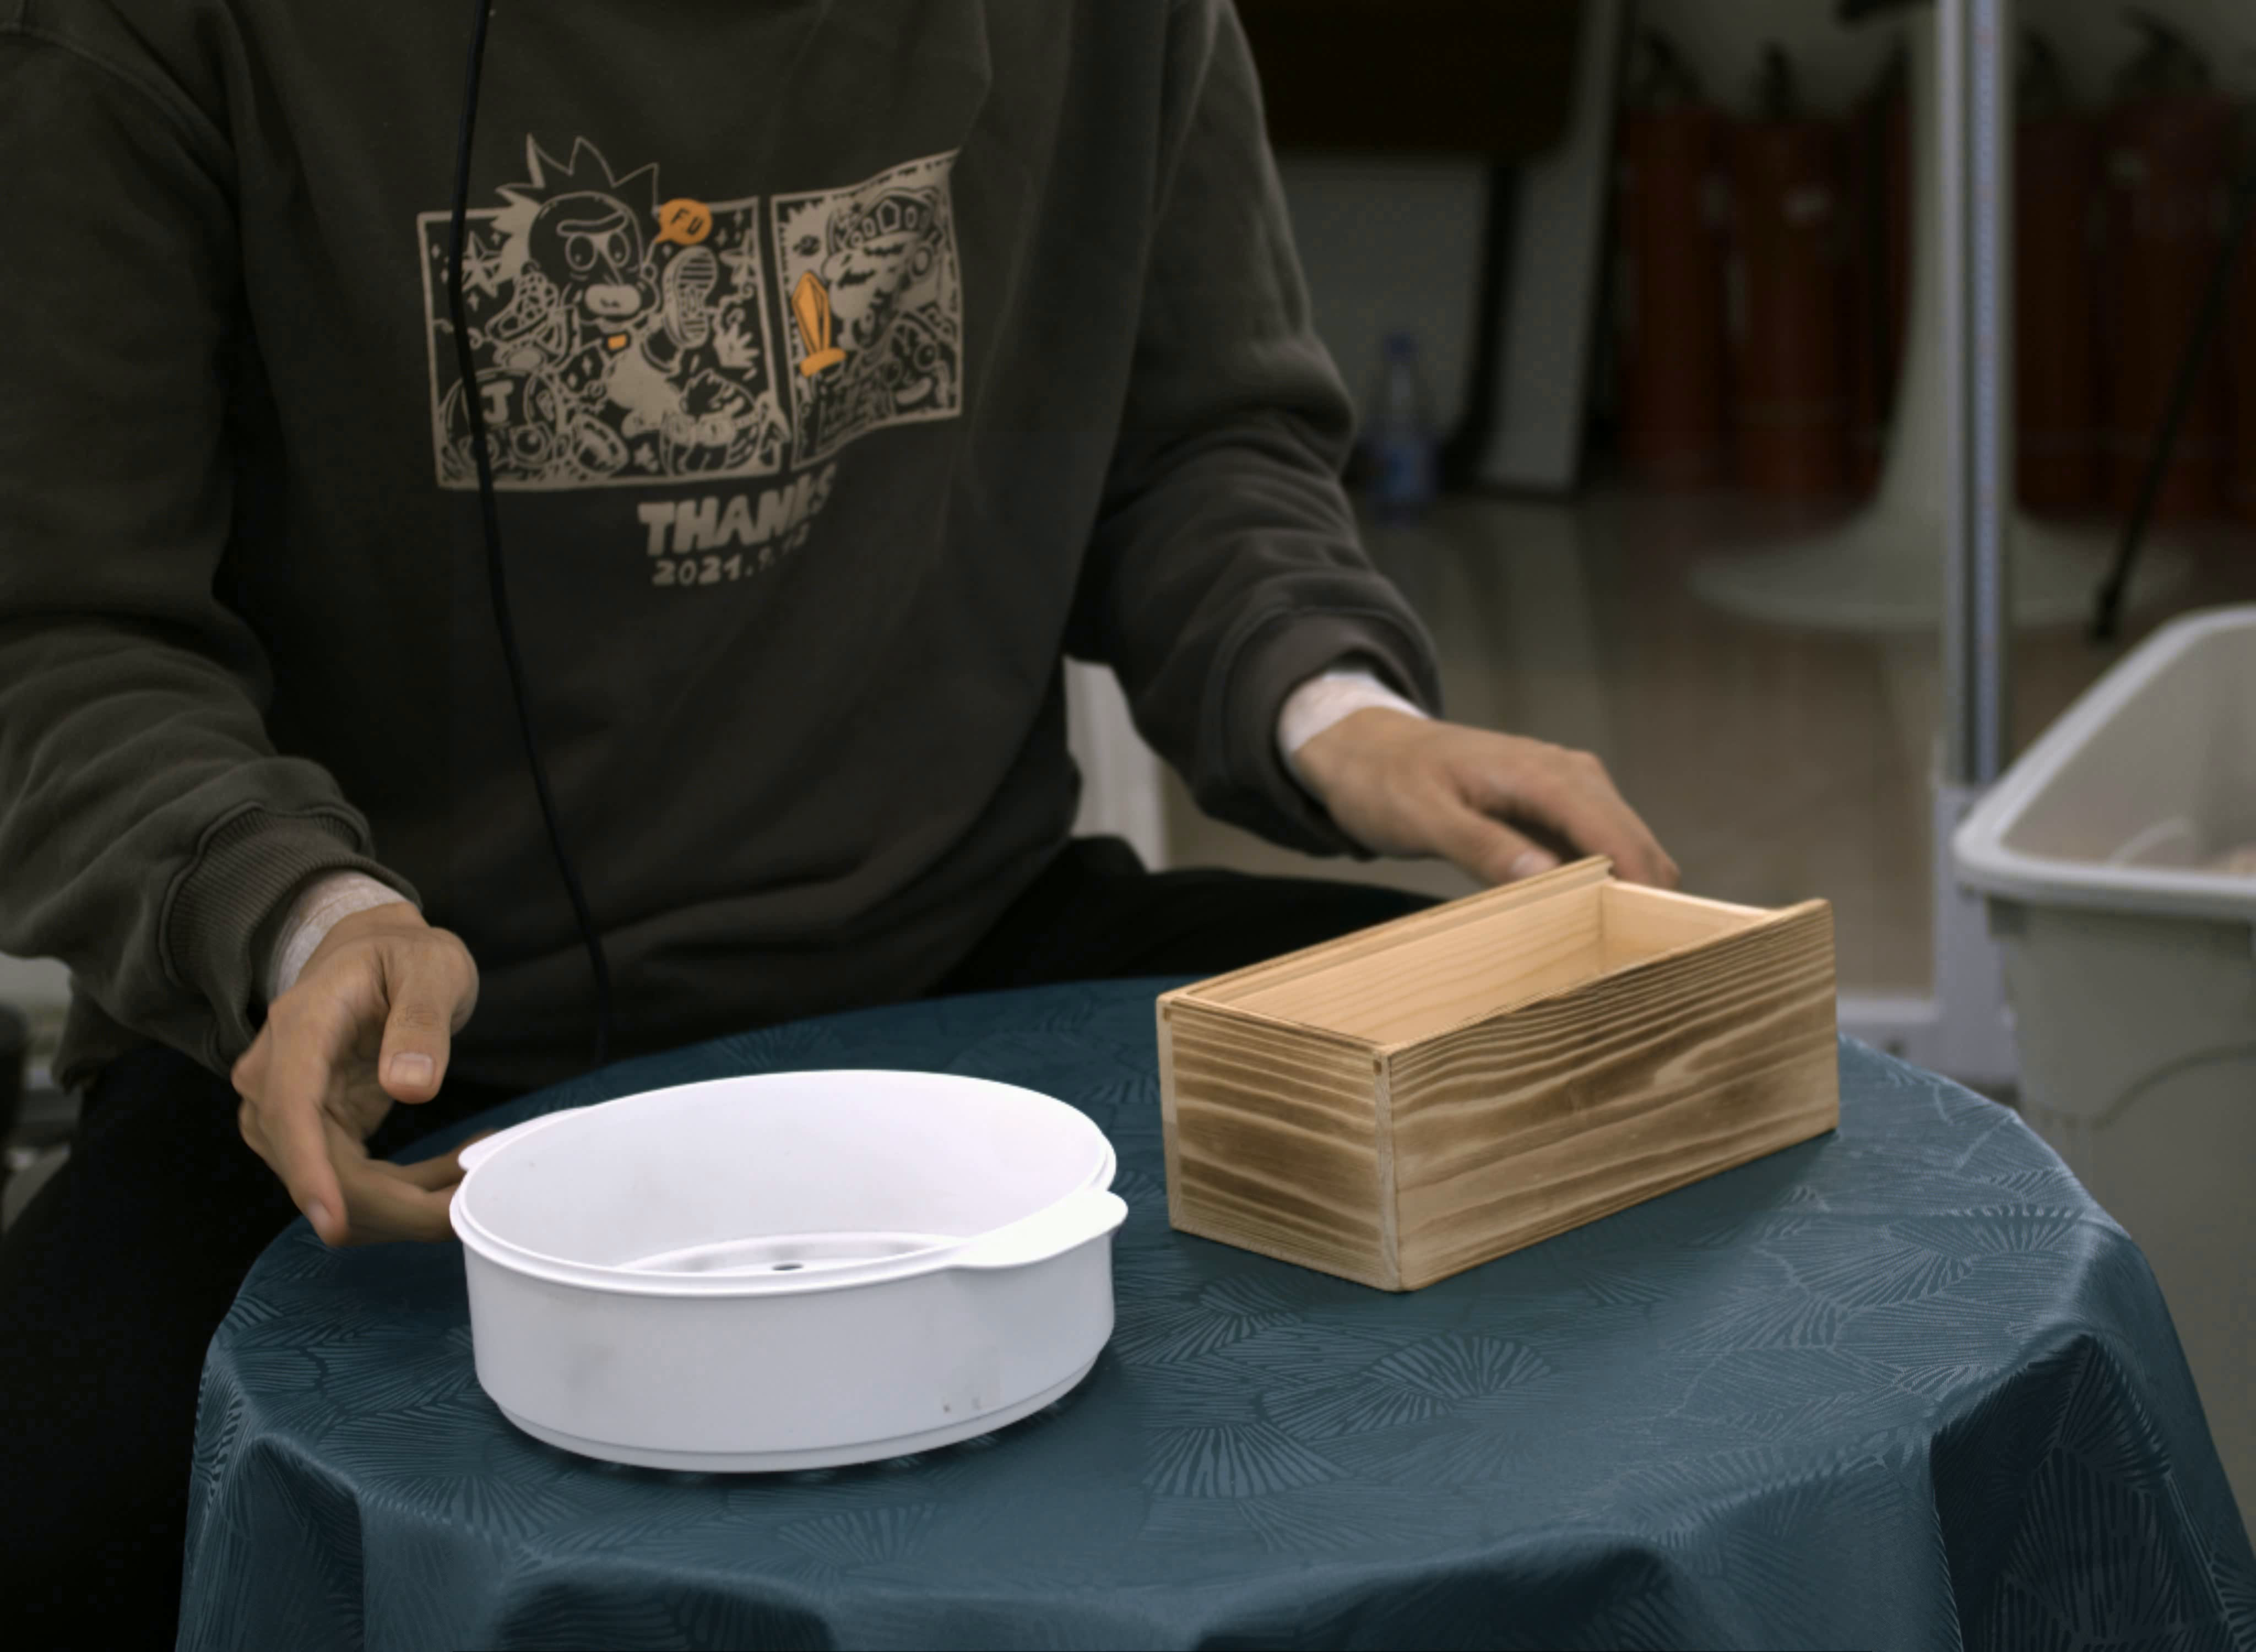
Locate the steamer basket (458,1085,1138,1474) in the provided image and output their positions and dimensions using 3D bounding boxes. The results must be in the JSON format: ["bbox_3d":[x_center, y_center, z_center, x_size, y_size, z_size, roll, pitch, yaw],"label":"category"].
[{"bbox_3d":[-0.097,0.134,1.608,0.232,0.070,0.198,5,15,38],"label":"steamer basket"}]

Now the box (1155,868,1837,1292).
[{"bbox_3d":[0.122,0.079,1.745,0.207,0.081,0.108,-15,17,-40],"label":"box"}]
